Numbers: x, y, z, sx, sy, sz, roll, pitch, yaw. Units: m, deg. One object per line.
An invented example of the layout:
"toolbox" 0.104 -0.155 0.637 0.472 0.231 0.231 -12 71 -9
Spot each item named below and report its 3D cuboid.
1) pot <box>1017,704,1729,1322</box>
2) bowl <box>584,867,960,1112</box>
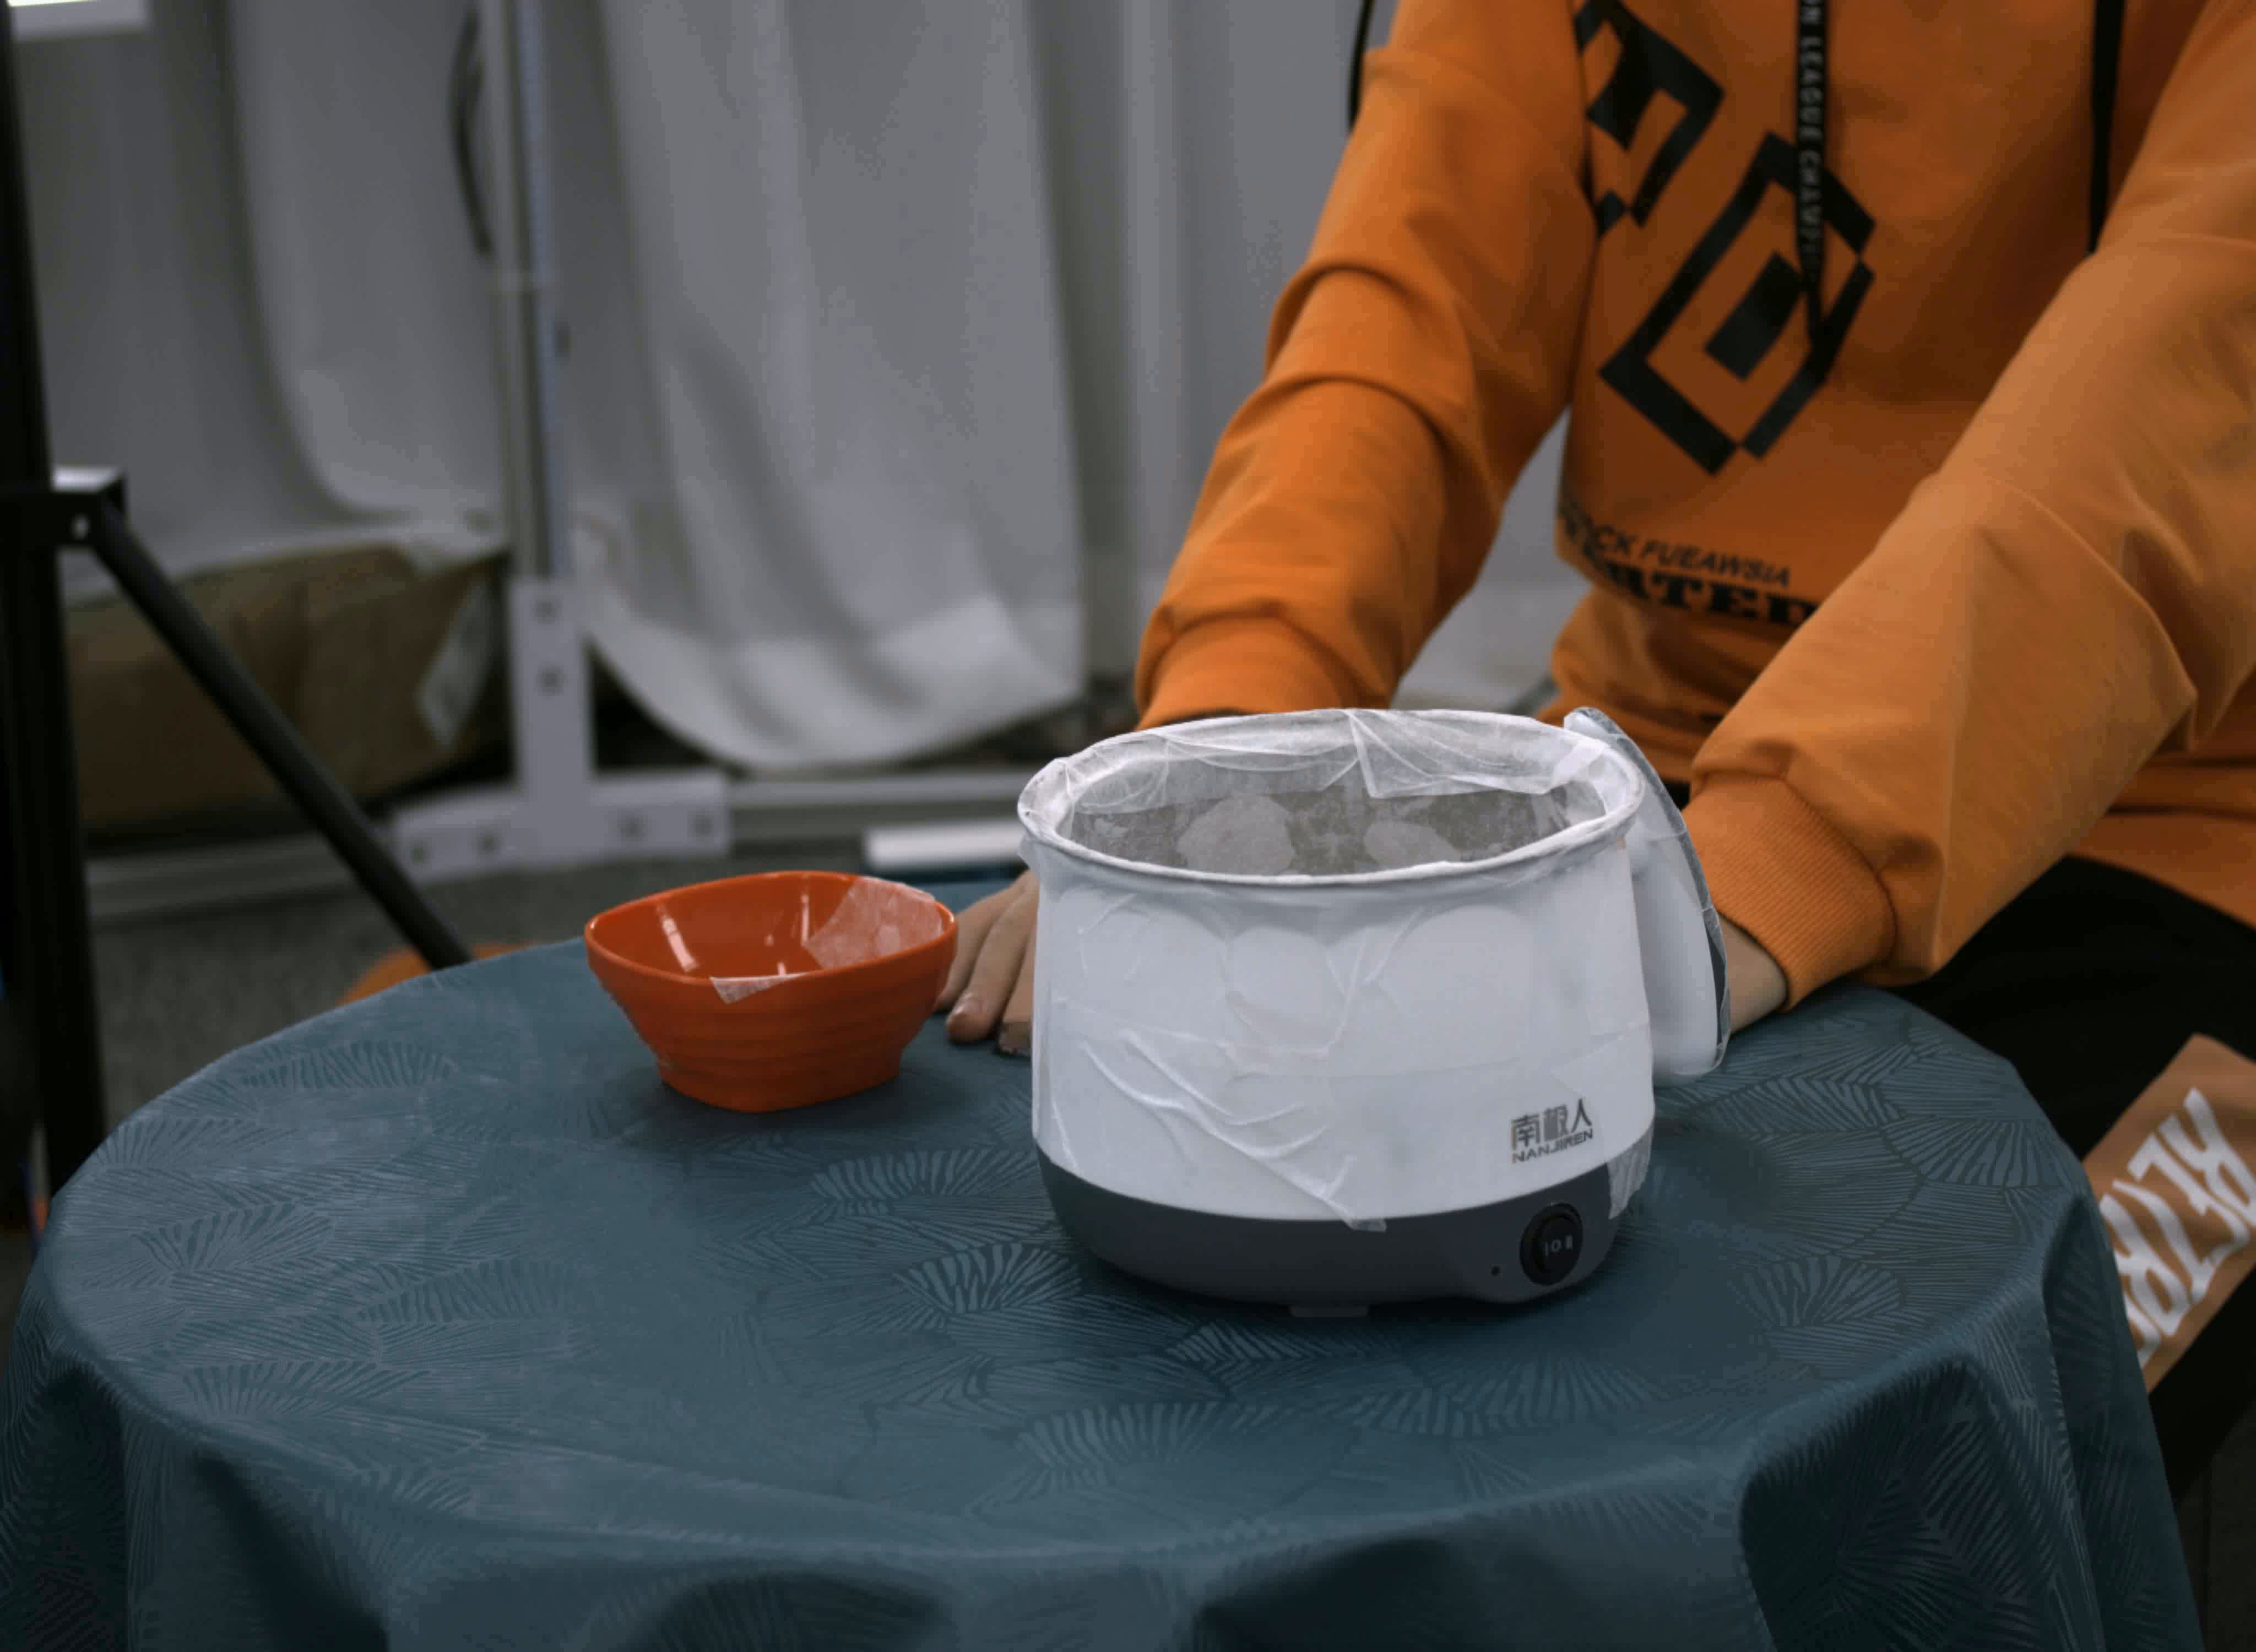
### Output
"pot" 0.080 0.045 1.515 0.228 0.136 0.183 -15 20 -37
"bowl" -0.110 0.053 1.674 0.118 0.051 0.119 -5 16 0
